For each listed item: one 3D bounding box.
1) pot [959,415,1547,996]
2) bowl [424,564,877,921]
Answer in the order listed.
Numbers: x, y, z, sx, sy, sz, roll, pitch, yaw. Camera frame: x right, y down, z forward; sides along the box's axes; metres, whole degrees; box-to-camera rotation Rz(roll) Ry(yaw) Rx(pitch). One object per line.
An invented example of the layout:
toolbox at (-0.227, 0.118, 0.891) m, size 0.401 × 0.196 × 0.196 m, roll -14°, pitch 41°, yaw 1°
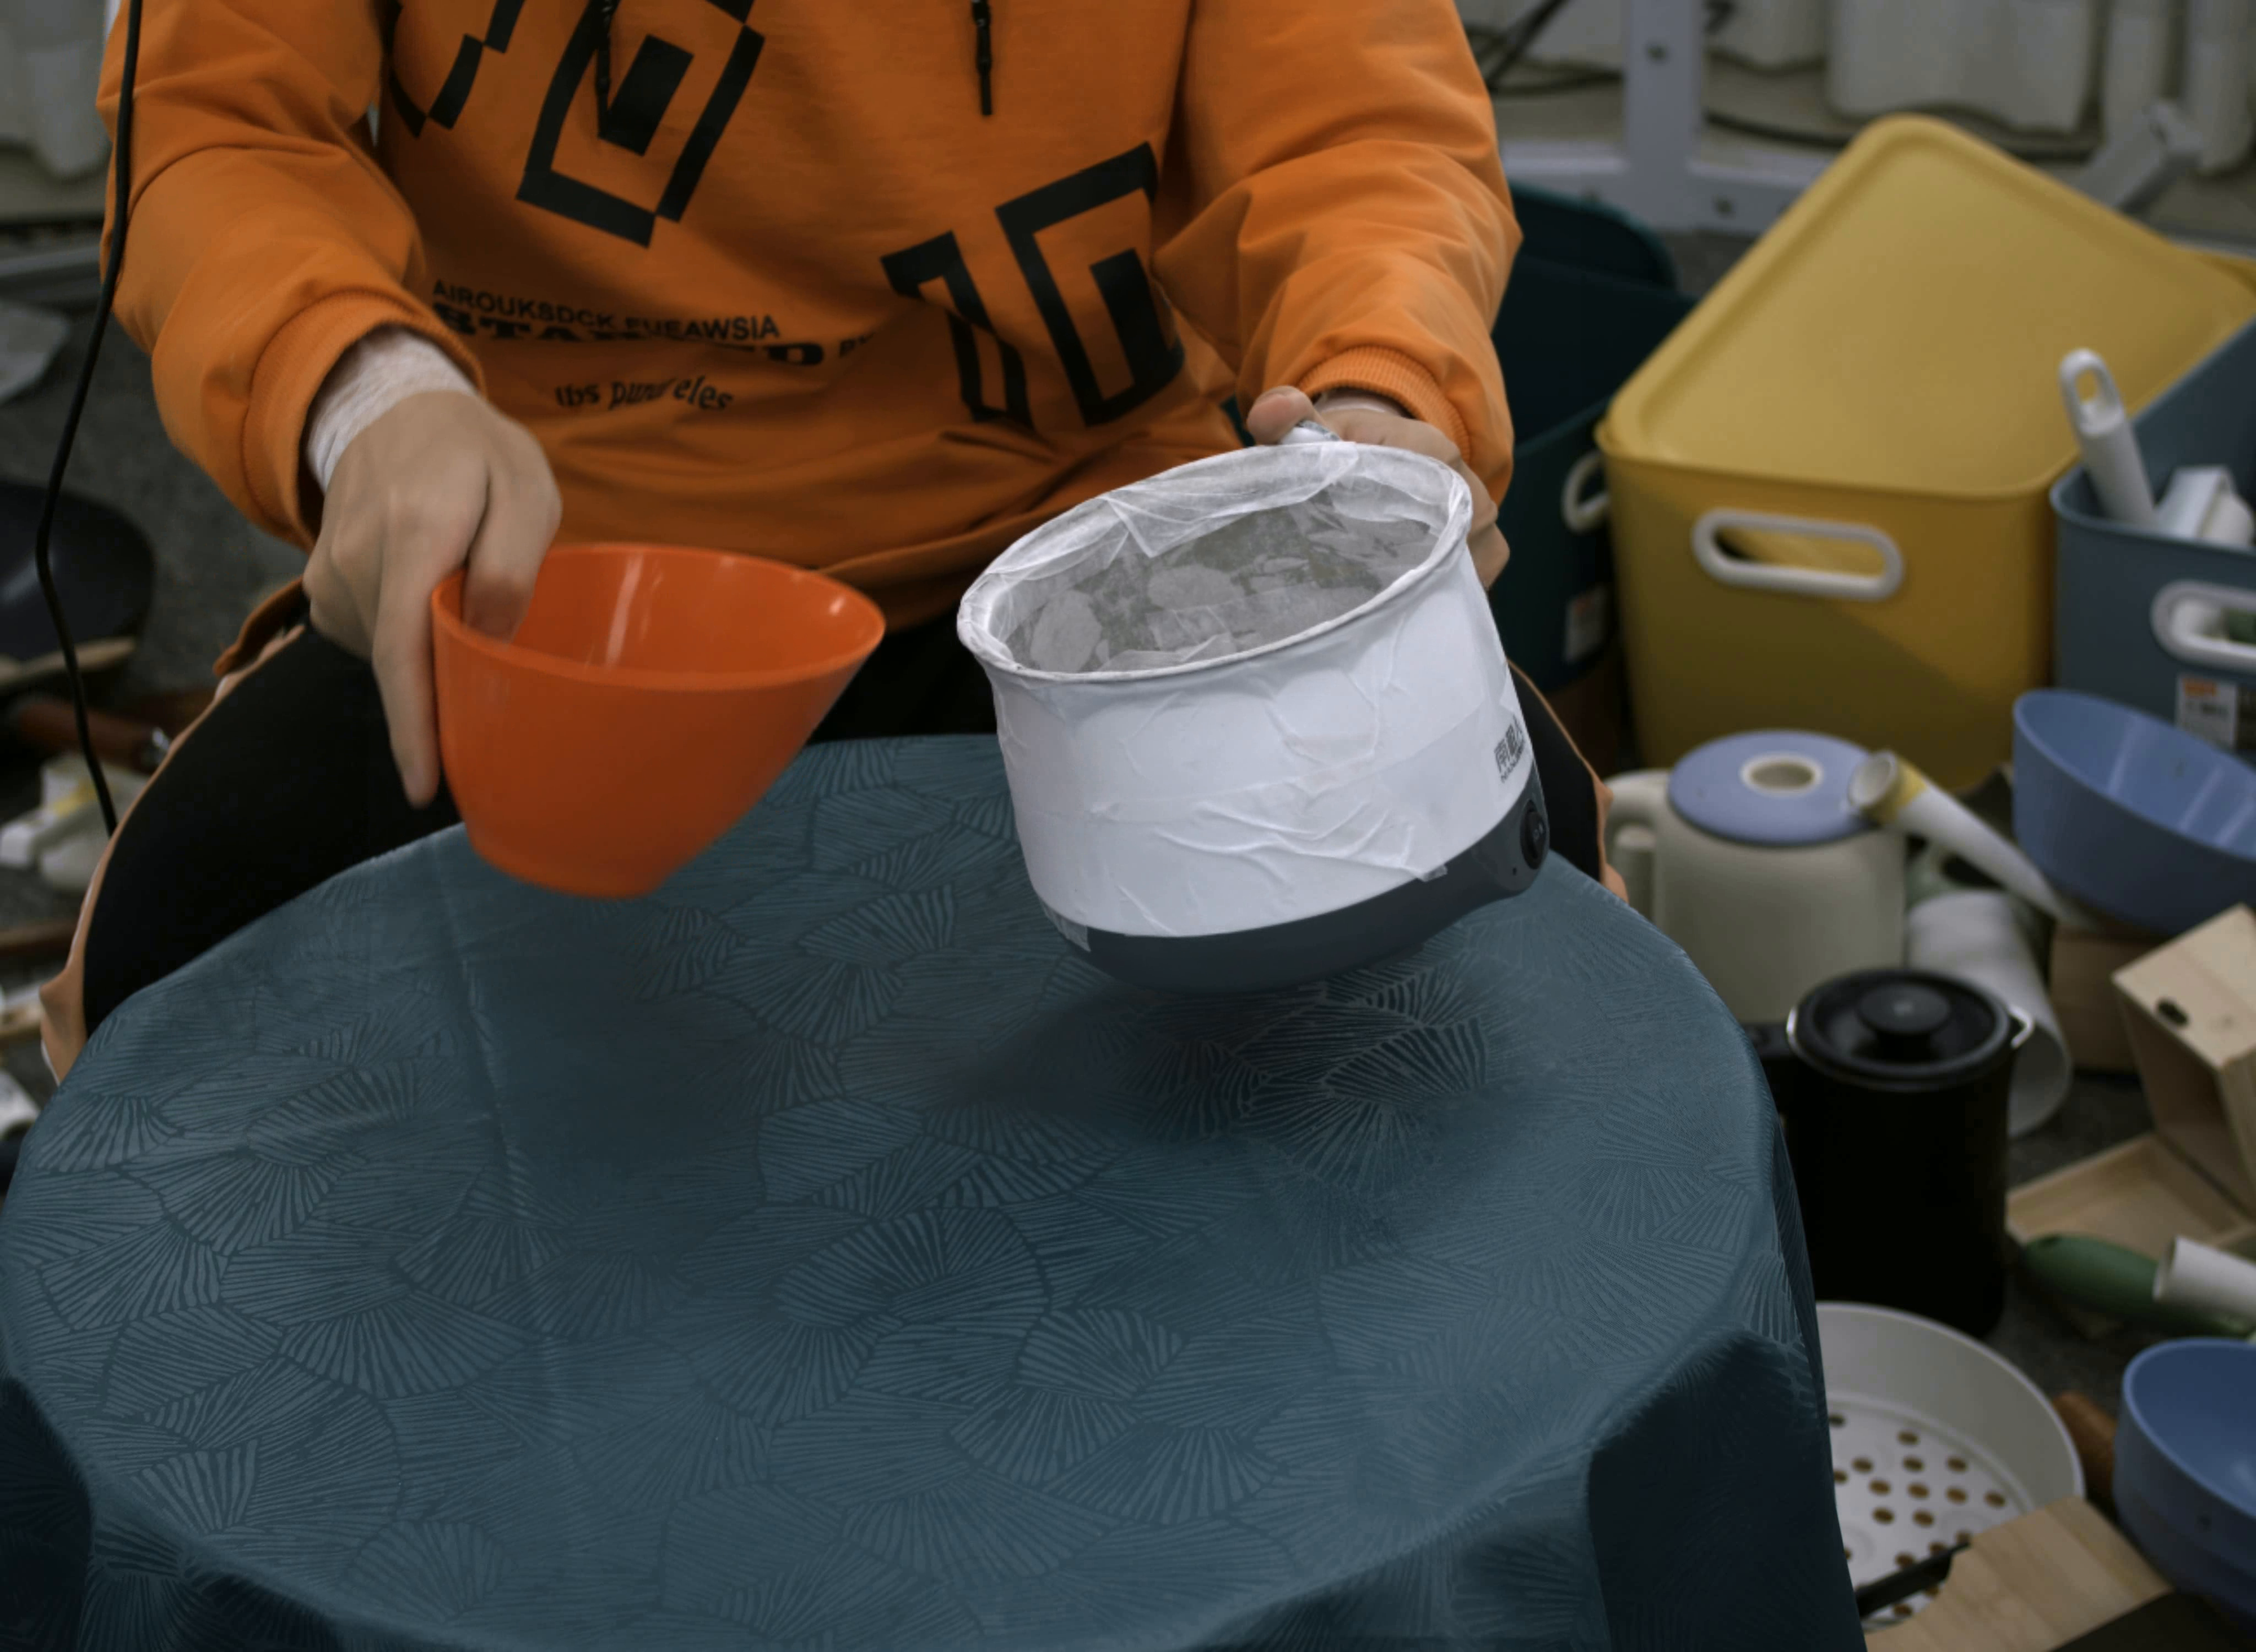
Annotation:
pot at (0.051, -0.048, 1.923) m, size 0.177 × 0.135 × 0.238 m, roll -5°, pitch 26°, yaw 21°
bowl at (-0.166, -0.026, 1.865) m, size 0.147 × 0.104 × 0.149 m, roll 13°, pitch 17°, yaw -4°
